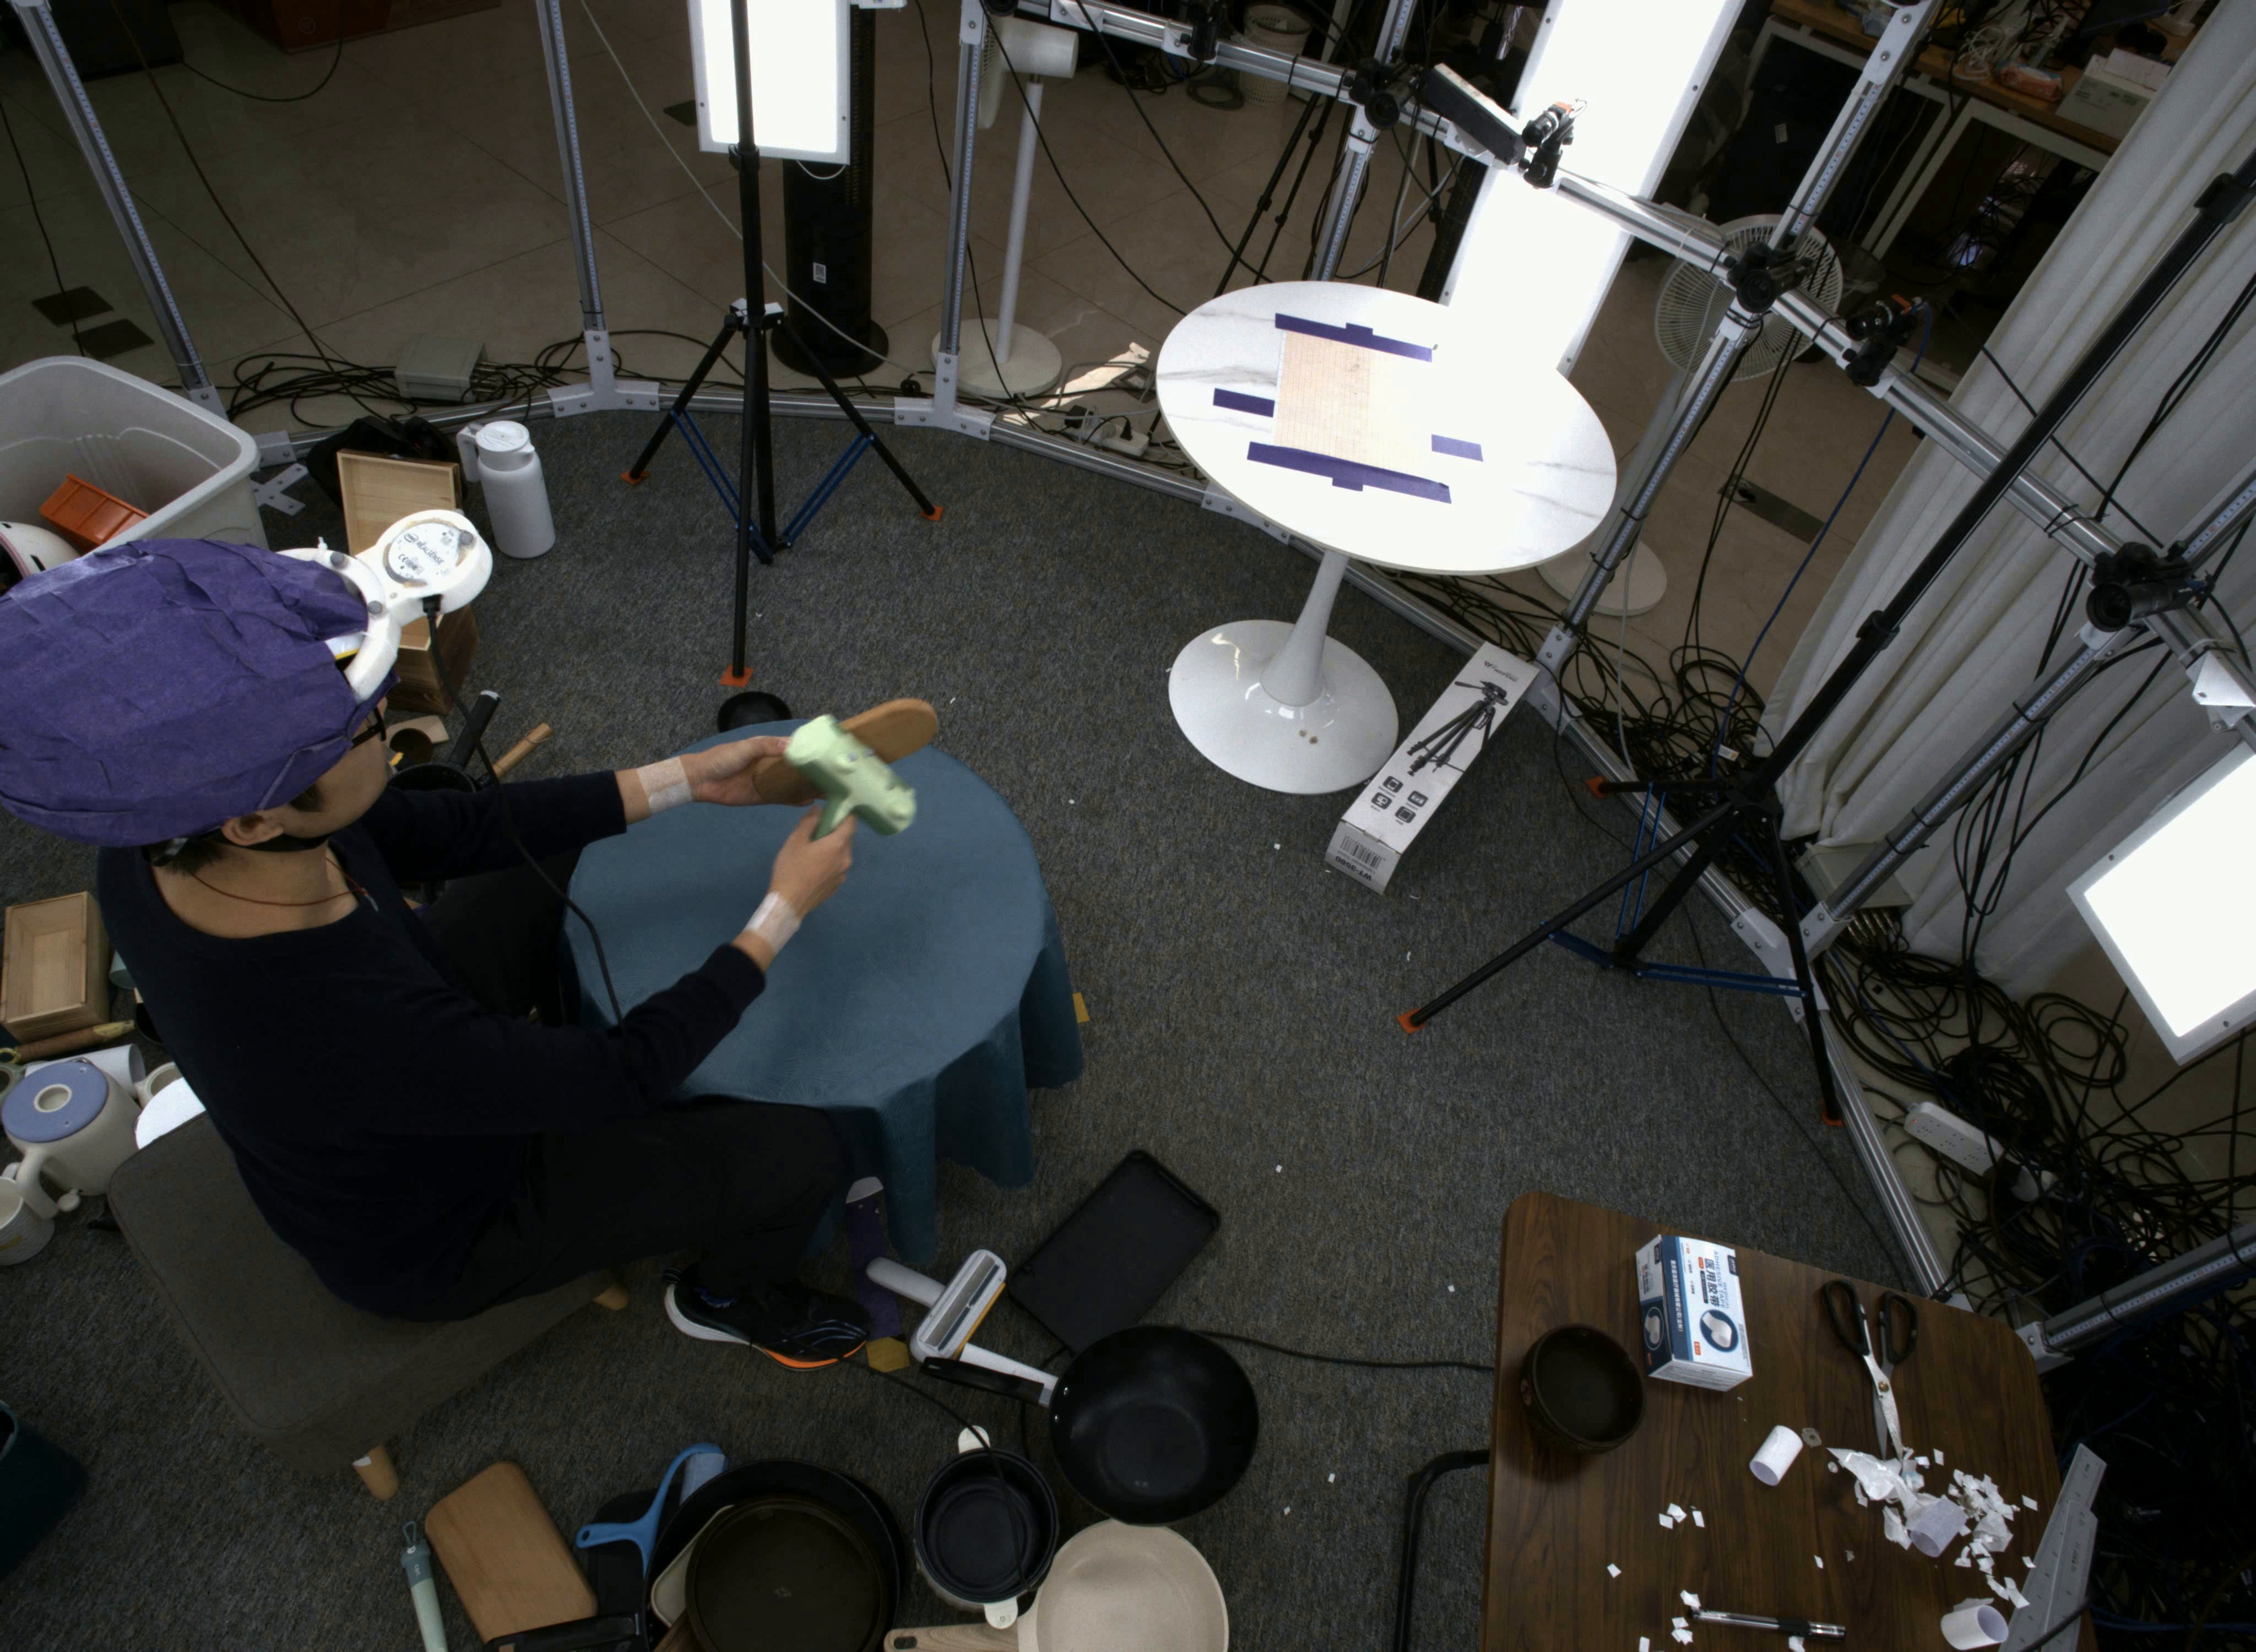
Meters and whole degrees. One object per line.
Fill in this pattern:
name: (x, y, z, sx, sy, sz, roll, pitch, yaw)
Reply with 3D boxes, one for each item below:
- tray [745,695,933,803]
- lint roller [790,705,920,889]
tray: (-0.337, -0.089, 1.523, 0.230, 0.104, 0.020, -25, 61, -7)
lint roller: (-0.320, -0.011, 1.485, 0.079, 0.206, 0.182, 4, 66, 28)
